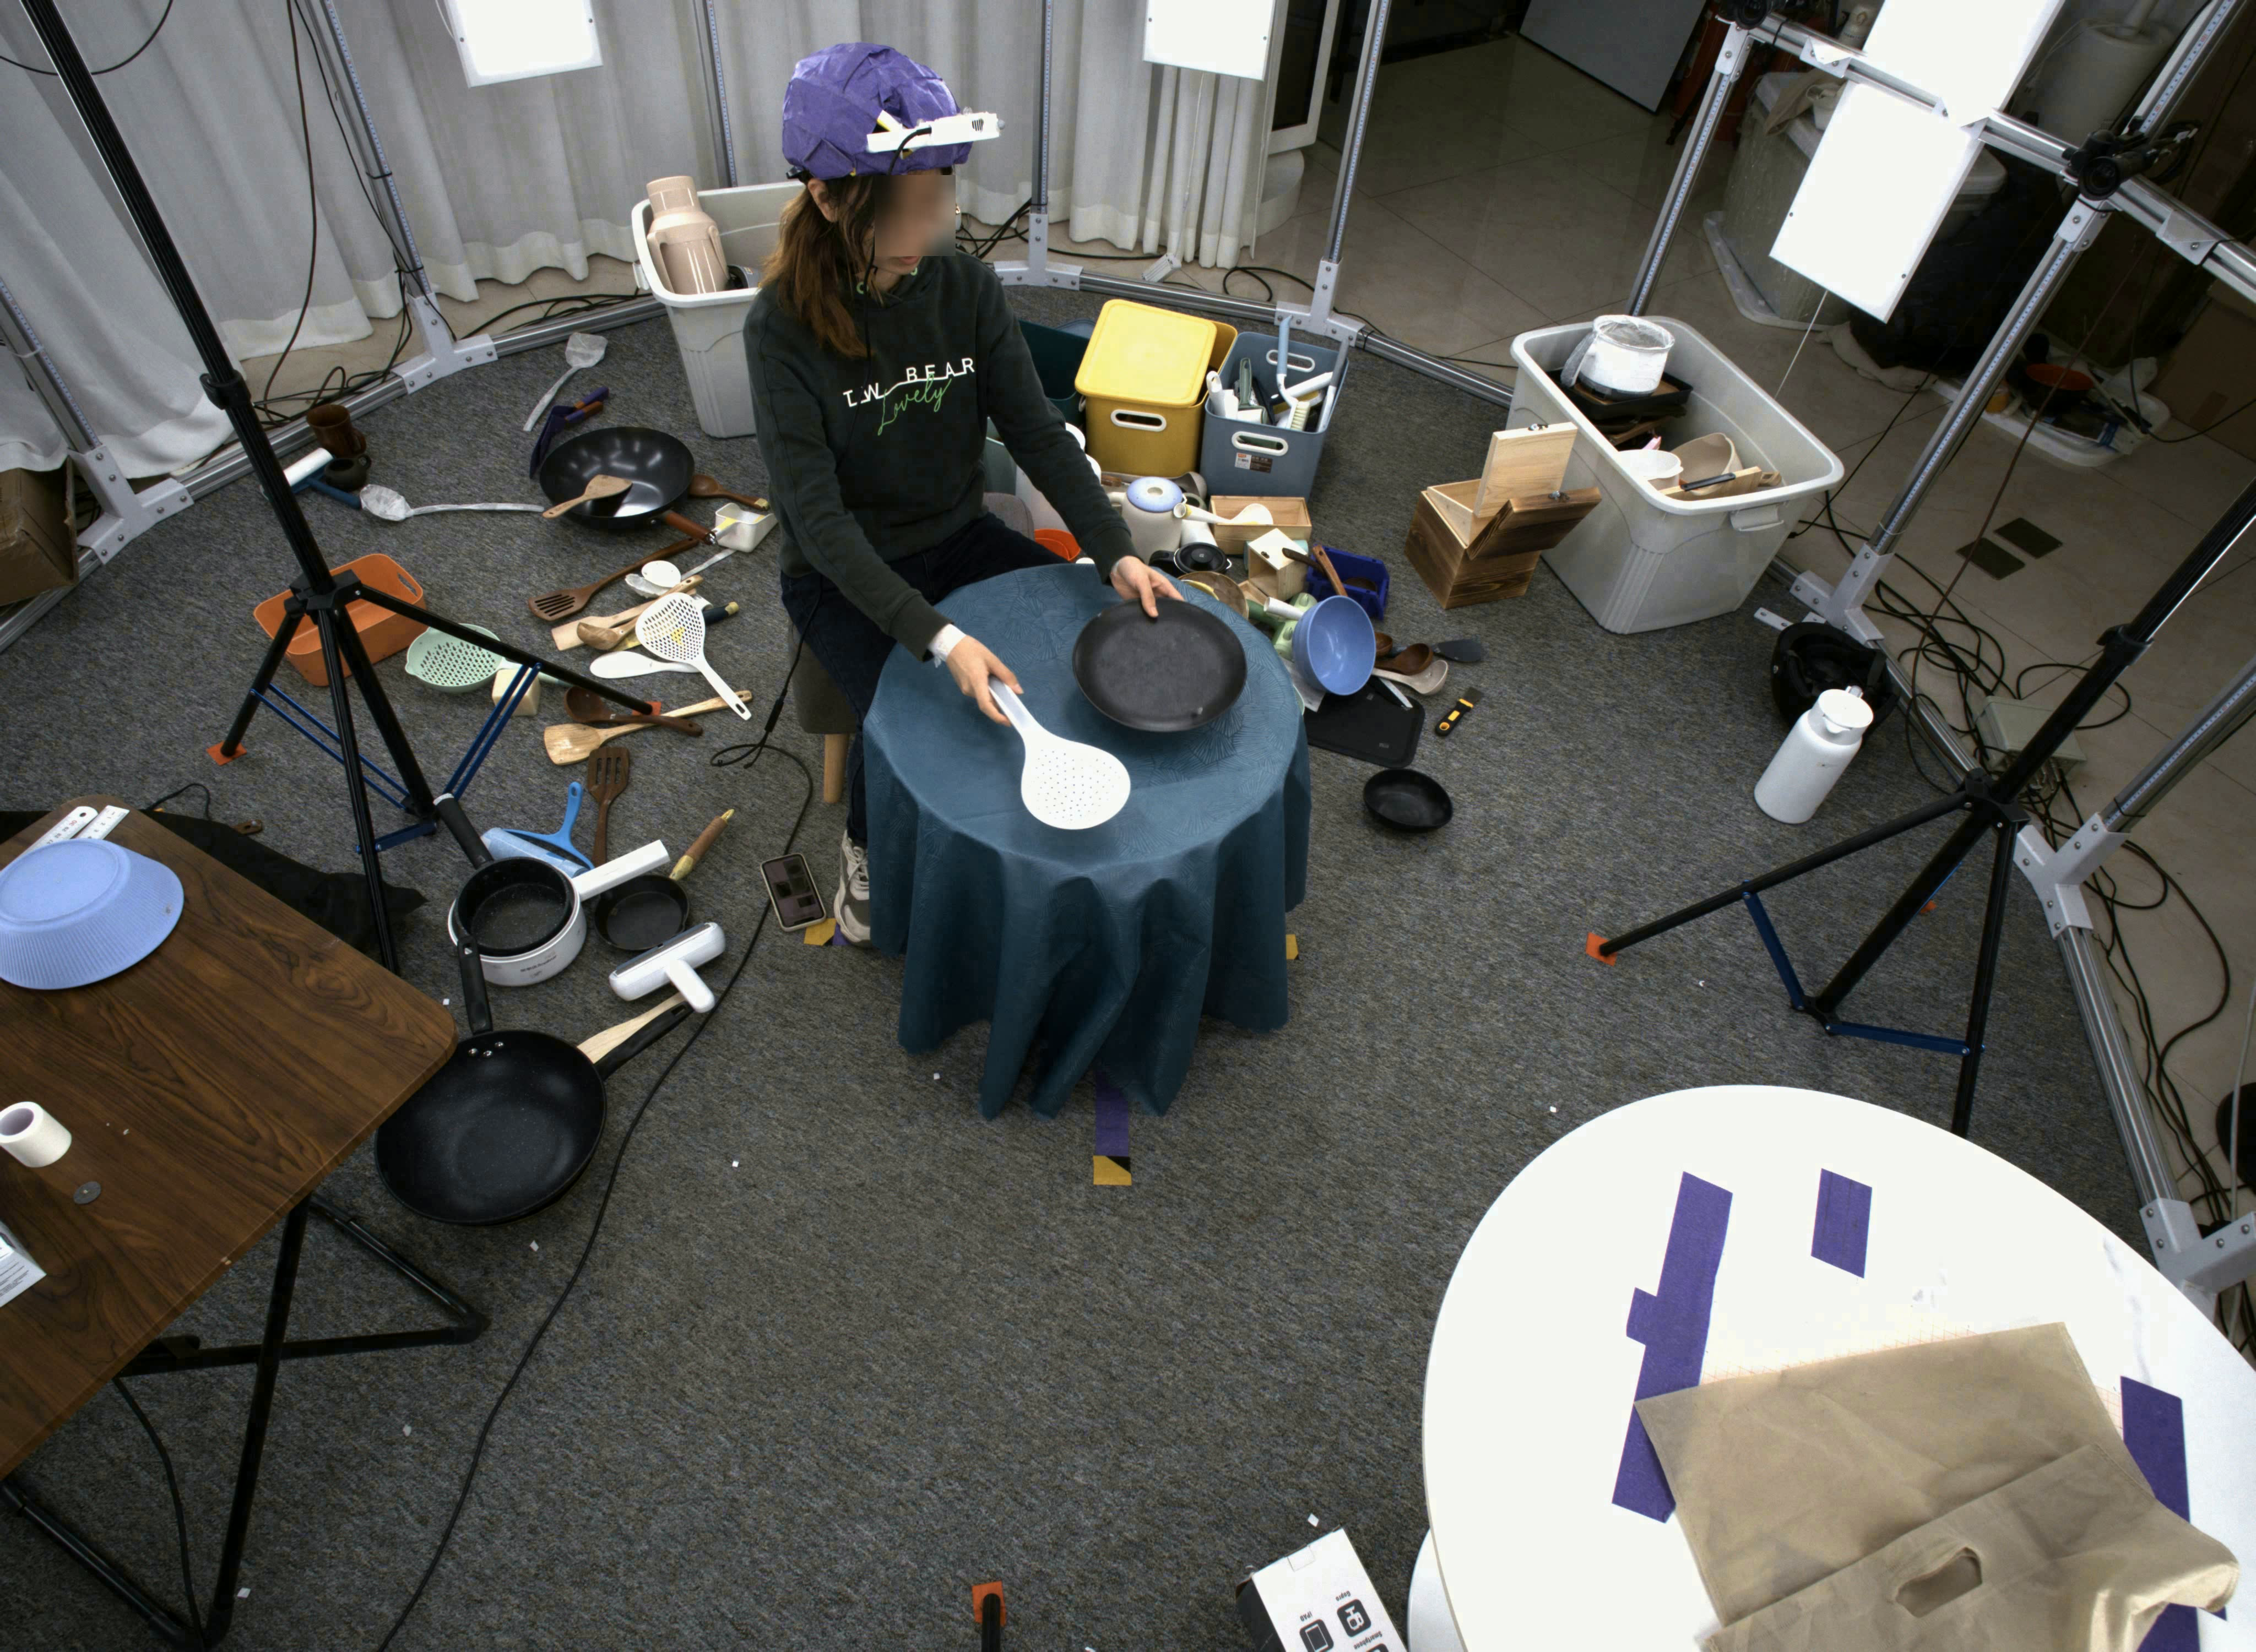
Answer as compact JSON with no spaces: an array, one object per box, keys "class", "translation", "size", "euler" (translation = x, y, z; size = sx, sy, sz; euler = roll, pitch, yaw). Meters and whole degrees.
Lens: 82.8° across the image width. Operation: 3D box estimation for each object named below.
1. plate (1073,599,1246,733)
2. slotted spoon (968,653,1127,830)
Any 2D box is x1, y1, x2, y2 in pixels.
[{"class":"plate","translation":[0.044,-0.224,1.804],"size":[0.244,0.023,0.250],"euler":[2,55,-2]},{"class":"slotted spoon","translation":[-0.124,-0.118,1.697],"size":[0.136,0.044,0.357],"euler":[-26,58,-17]}]
